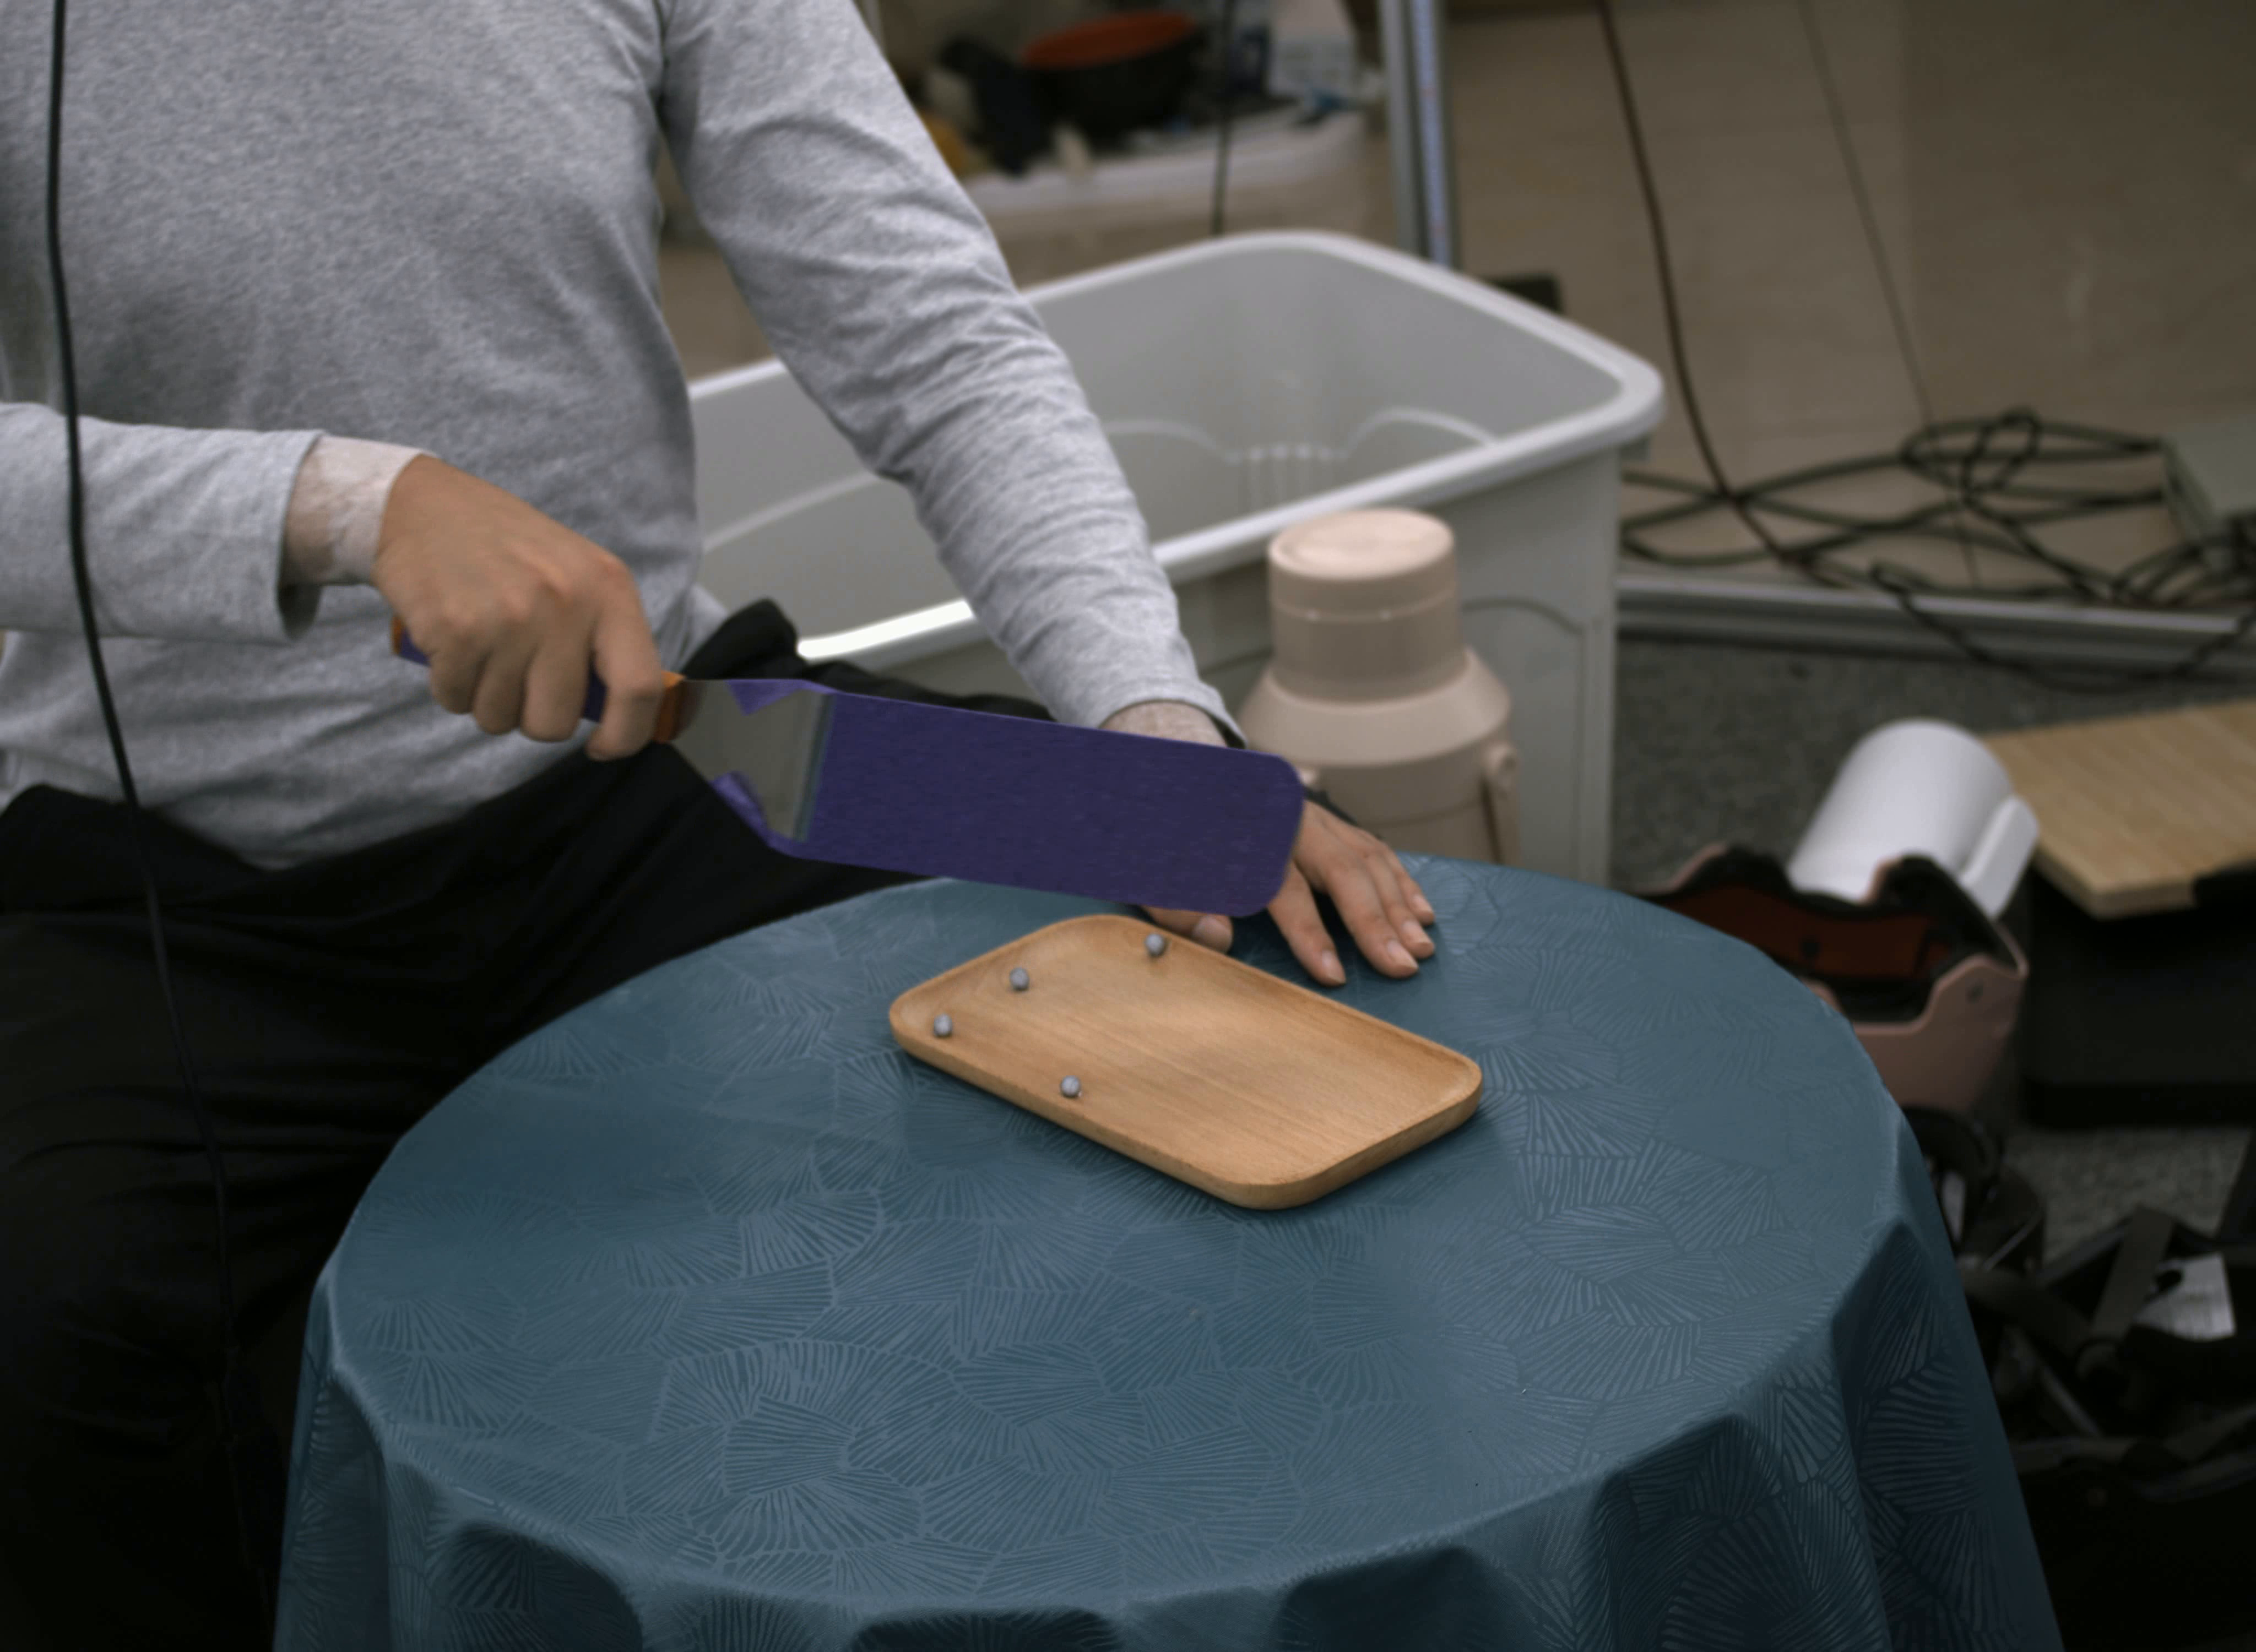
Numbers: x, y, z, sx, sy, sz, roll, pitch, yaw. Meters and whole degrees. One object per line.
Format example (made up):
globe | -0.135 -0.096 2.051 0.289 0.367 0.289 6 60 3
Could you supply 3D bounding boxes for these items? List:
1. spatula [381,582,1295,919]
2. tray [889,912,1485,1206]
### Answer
spatula | -0.116 -0.037 2.208 0.357 0.076 0.086 20 27 14
tray | 0.021 0.090 2.230 0.129 0.023 0.248 -27 32 -31
